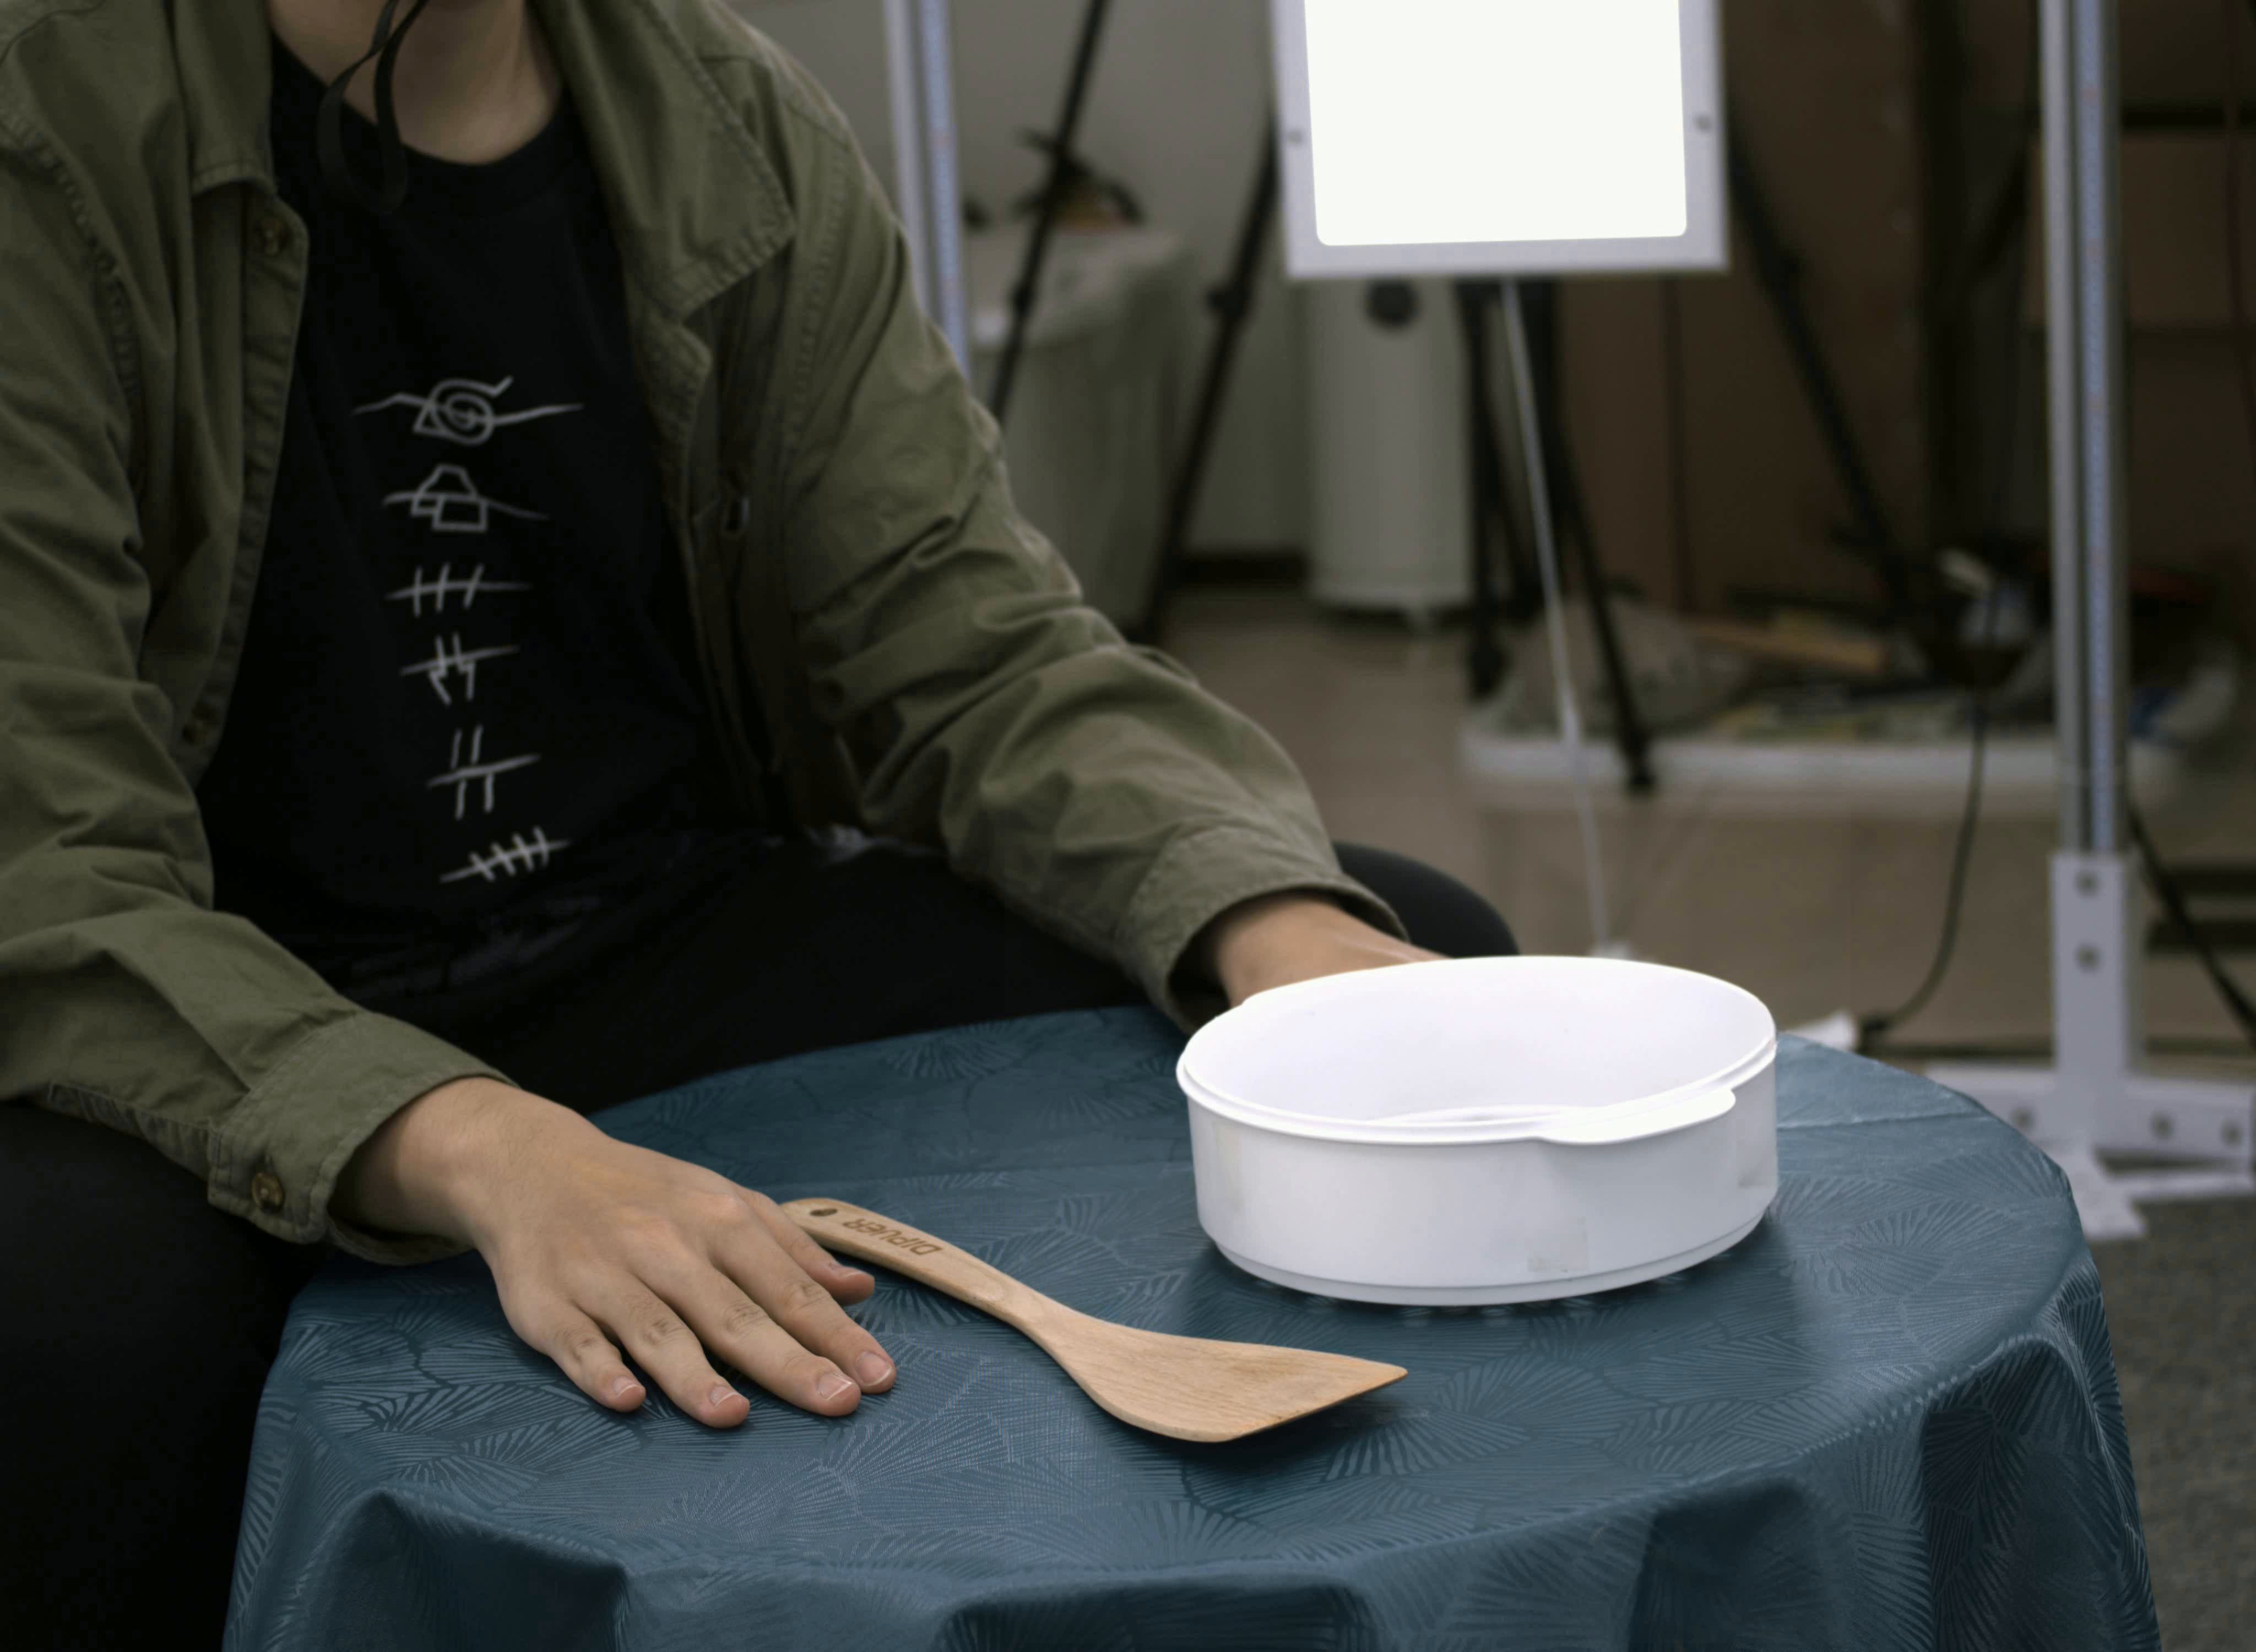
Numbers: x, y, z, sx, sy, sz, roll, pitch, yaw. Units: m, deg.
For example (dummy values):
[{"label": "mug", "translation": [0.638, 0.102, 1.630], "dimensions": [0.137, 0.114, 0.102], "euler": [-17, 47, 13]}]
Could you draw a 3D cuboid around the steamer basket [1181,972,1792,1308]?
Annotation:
[{"label": "steamer basket", "translation": [0.120, 0.103, 1.809], "dimensions": [0.198, 0.069, 0.234], "euler": [-11, 13, -25]}]

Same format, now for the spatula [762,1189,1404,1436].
[{"label": "spatula", "translation": [-0.029, 0.151, 1.769], "dimensions": [0.078, 0.016, 0.334], "euler": [-13, 16, -31]}]
